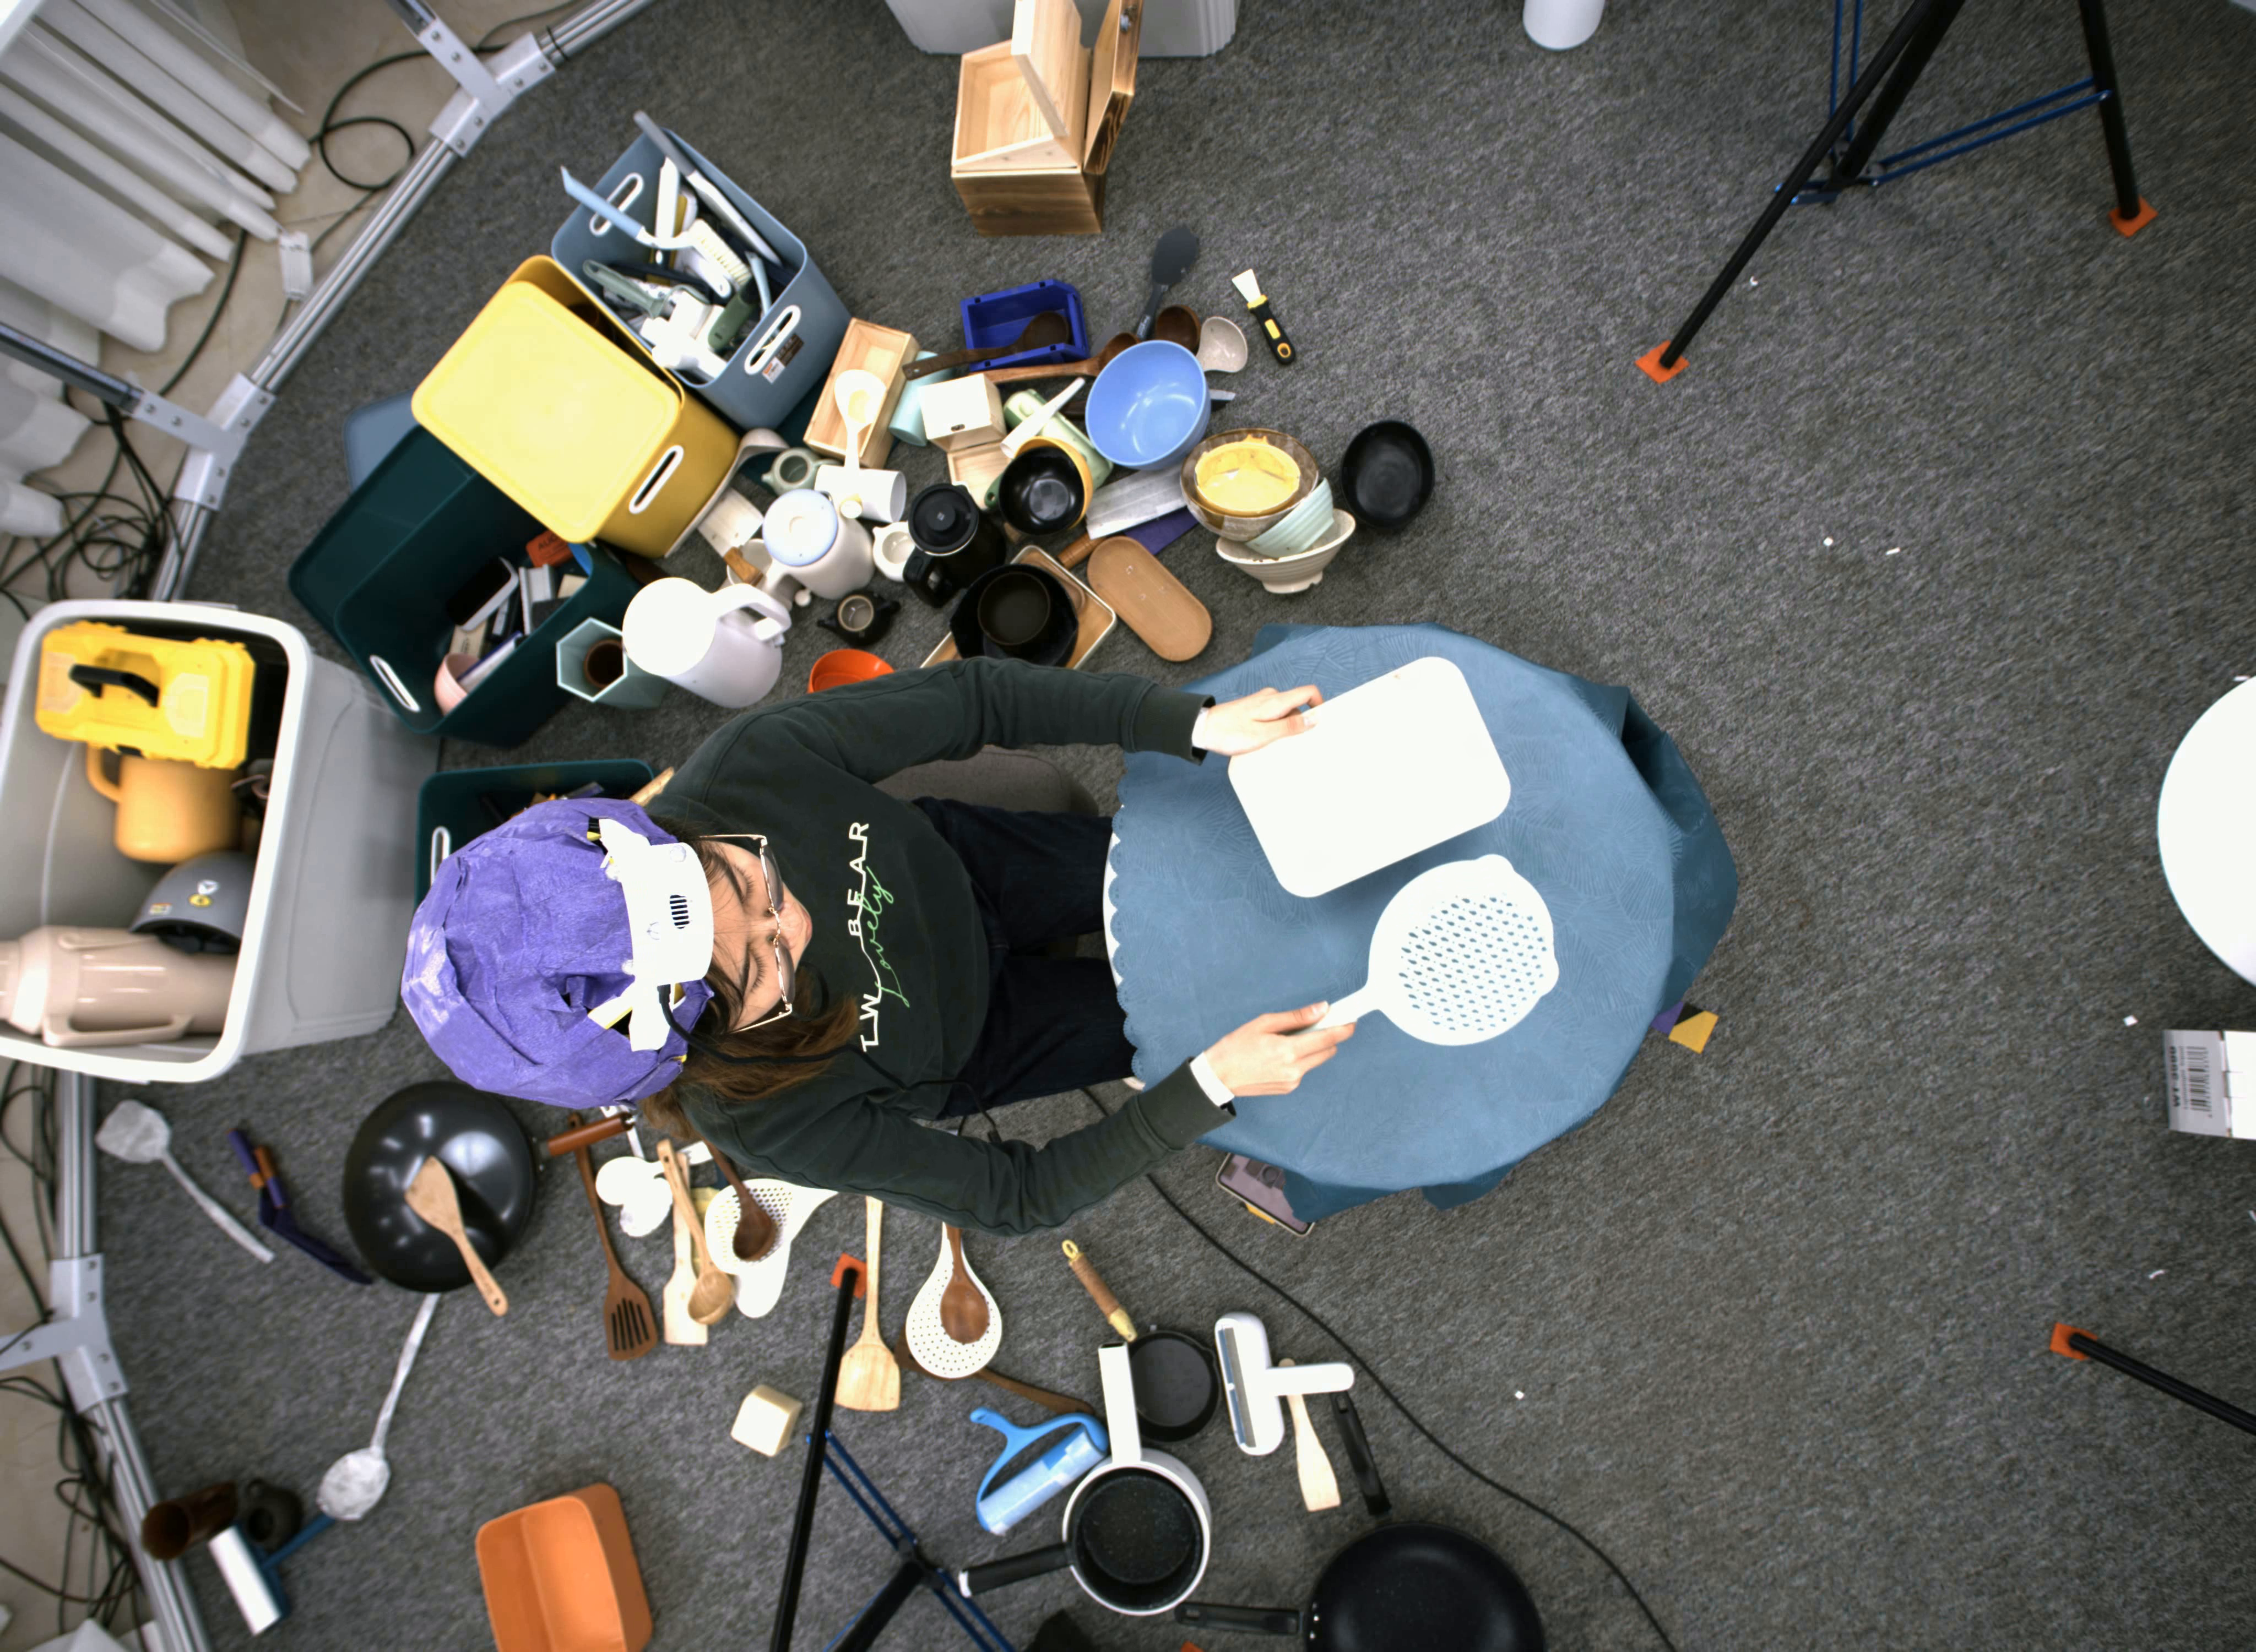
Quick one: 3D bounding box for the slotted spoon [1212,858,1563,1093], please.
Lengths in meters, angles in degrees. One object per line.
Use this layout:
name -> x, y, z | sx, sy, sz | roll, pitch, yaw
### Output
slotted spoon -> 0.225, 0.163, 1.270 | 0.362, 0.076, 0.165 | -26, 55, 15

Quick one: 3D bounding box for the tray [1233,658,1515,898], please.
tray -> 0.235, -0.046, 1.321 | 0.242, 0.017, 0.172 | -25, 101, 13
